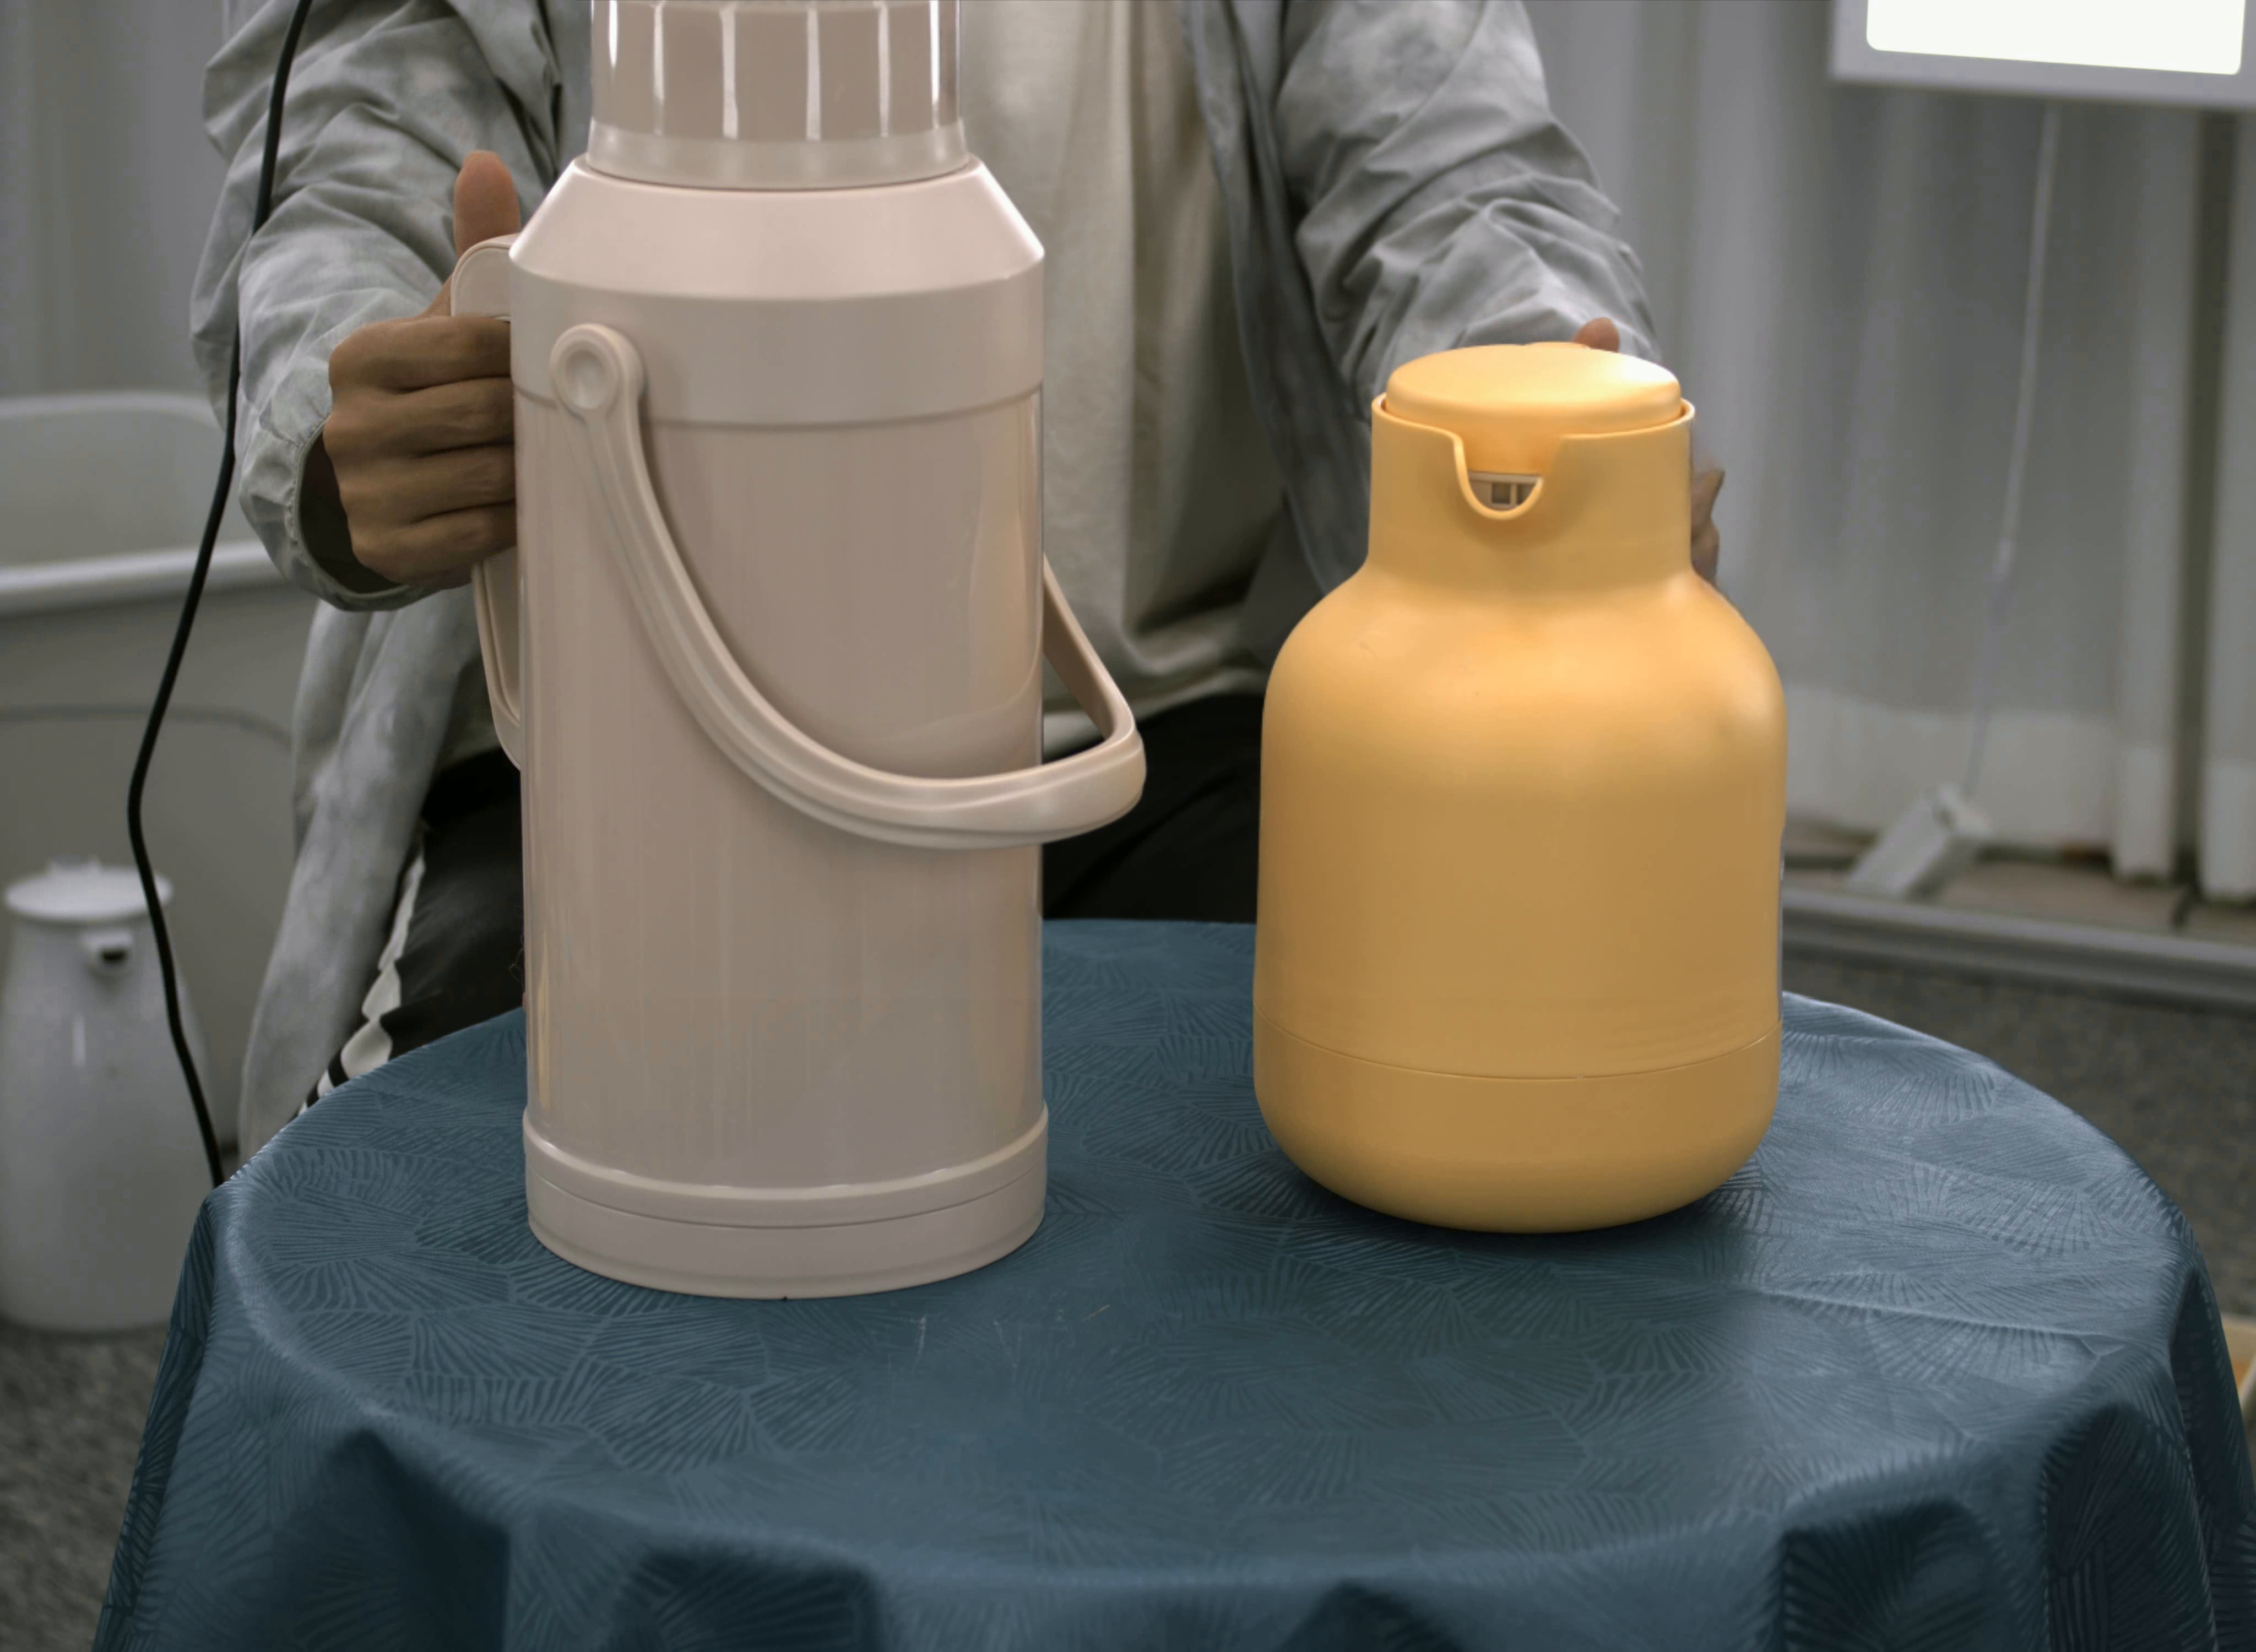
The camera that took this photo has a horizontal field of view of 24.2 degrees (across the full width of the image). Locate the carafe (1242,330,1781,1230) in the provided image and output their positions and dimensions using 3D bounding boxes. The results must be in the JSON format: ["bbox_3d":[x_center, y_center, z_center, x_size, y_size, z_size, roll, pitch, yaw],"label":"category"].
[{"bbox_3d":[0.124,-0.022,1.624,0.162,0.262,0.202,6,18,12],"label":"carafe"}]

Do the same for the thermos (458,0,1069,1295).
[{"bbox_3d":[-0.113,-0.077,1.559,0.204,0.410,0.176,12,21,33],"label":"thermos"}]
